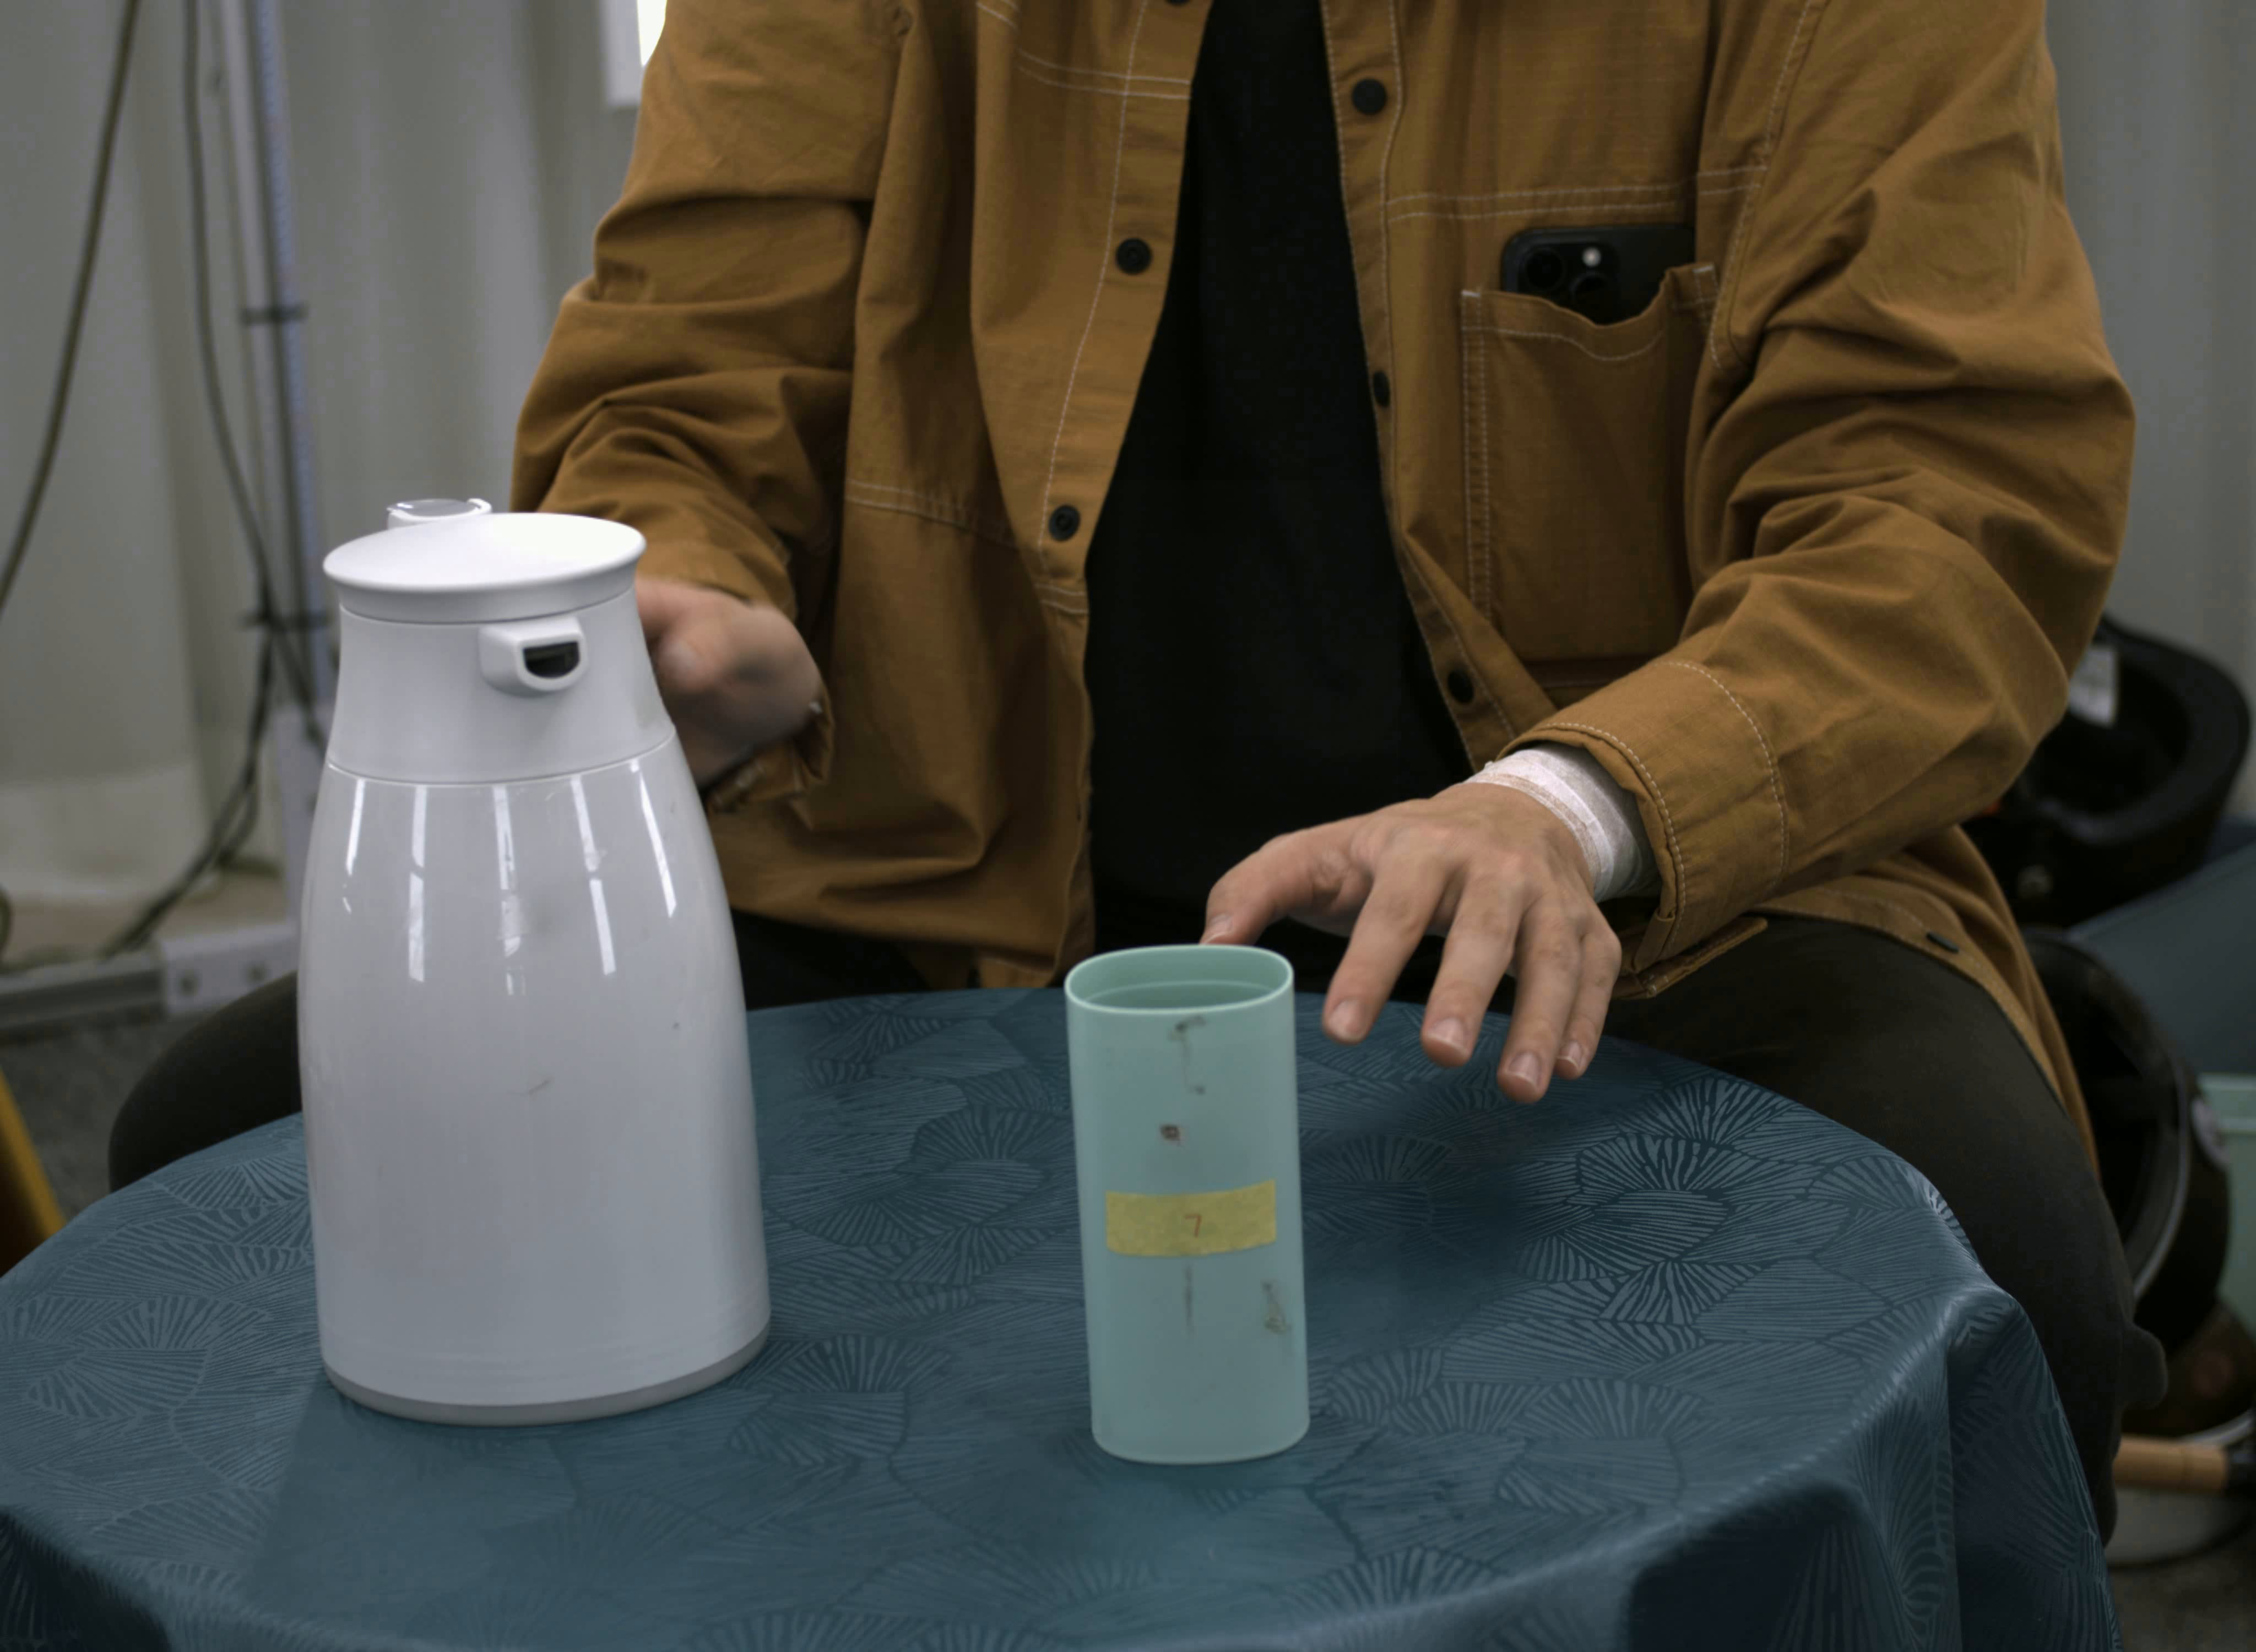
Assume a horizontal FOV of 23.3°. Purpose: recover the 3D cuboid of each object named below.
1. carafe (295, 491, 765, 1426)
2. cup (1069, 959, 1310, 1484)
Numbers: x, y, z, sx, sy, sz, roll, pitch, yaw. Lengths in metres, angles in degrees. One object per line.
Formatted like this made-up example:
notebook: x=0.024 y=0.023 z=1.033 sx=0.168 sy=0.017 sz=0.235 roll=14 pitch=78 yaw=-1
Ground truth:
carafe: x=-0.185 y=0.030 z=1.592 sx=0.132 sy=0.248 sz=0.169 roll=-9 pitch=14 yaw=-22
cup: x=0.018 y=0.107 z=1.500 sx=0.066 sy=0.132 sz=0.067 roll=-2 pitch=14 yaw=0
